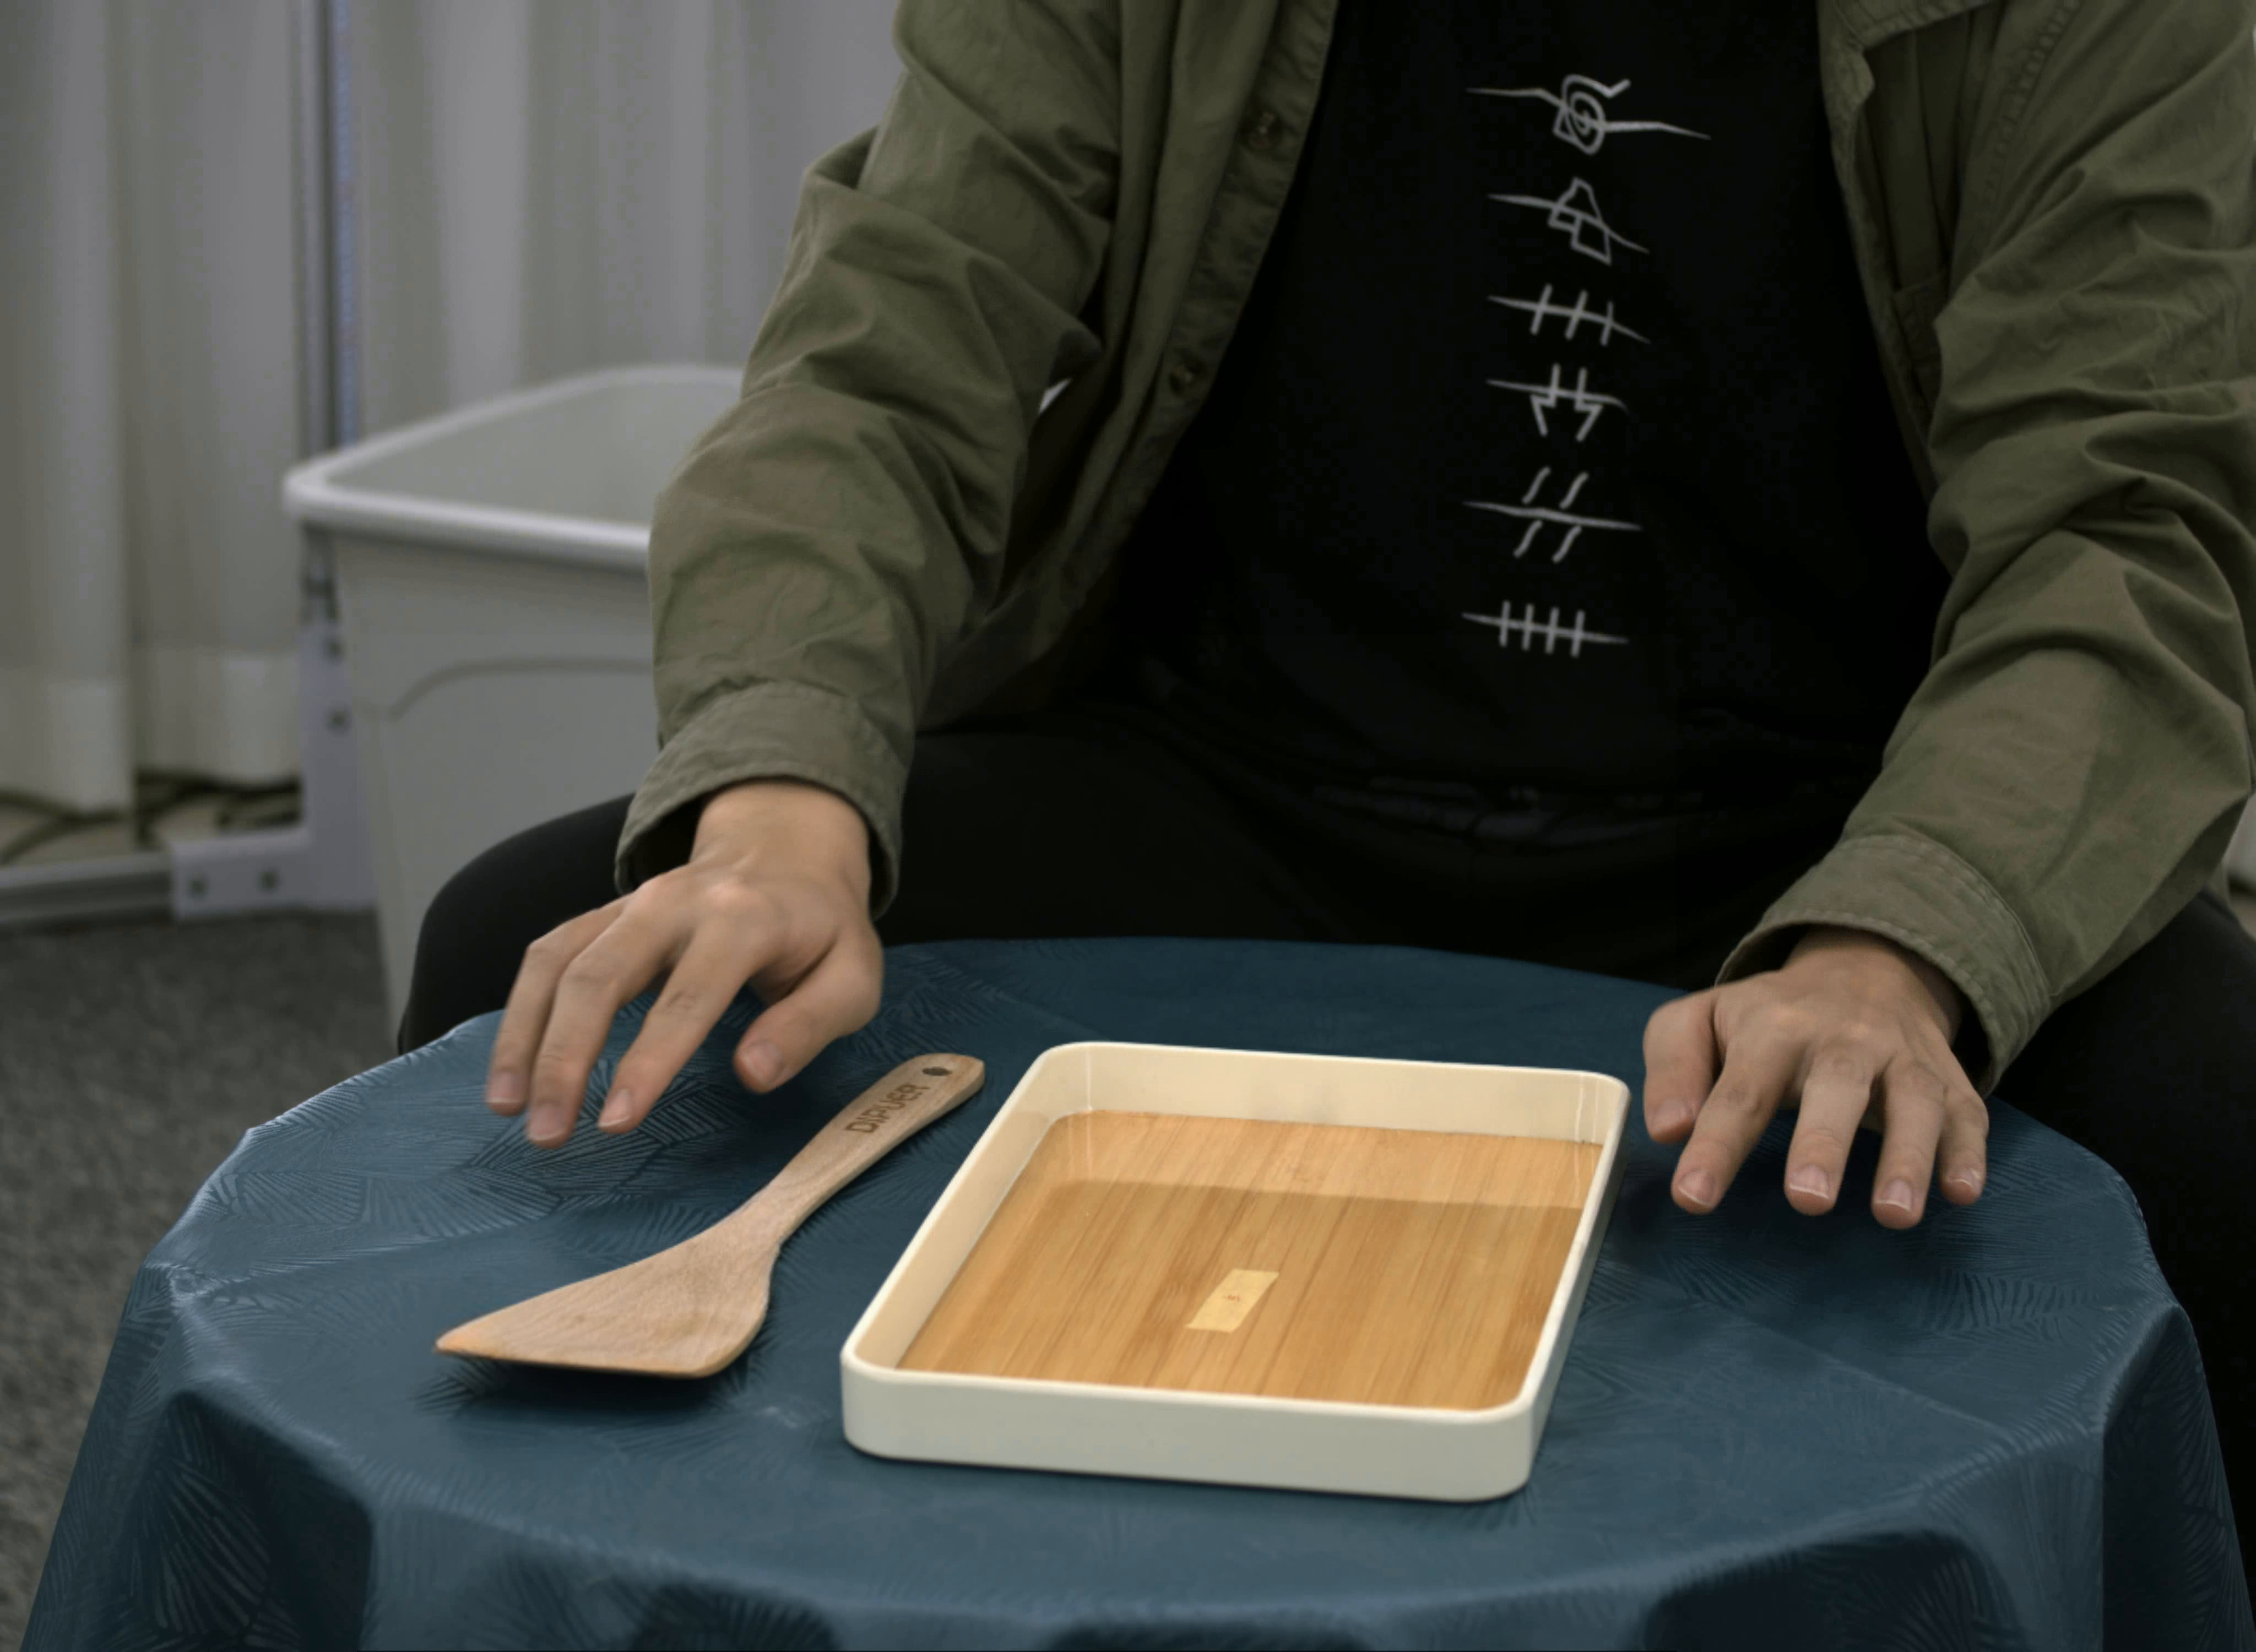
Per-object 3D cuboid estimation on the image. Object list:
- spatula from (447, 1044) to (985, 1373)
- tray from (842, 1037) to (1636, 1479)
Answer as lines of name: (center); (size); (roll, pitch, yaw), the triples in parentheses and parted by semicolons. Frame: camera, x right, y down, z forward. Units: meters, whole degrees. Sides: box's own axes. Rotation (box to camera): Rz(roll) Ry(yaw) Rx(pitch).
spatula: (-0.105, 0.112, 1.595); (0.079, 0.016, 0.327); (6, 16, 17)
tray: (0.041, 0.121, 1.544); (0.190, 0.027, 0.300); (4, 15, 11)
